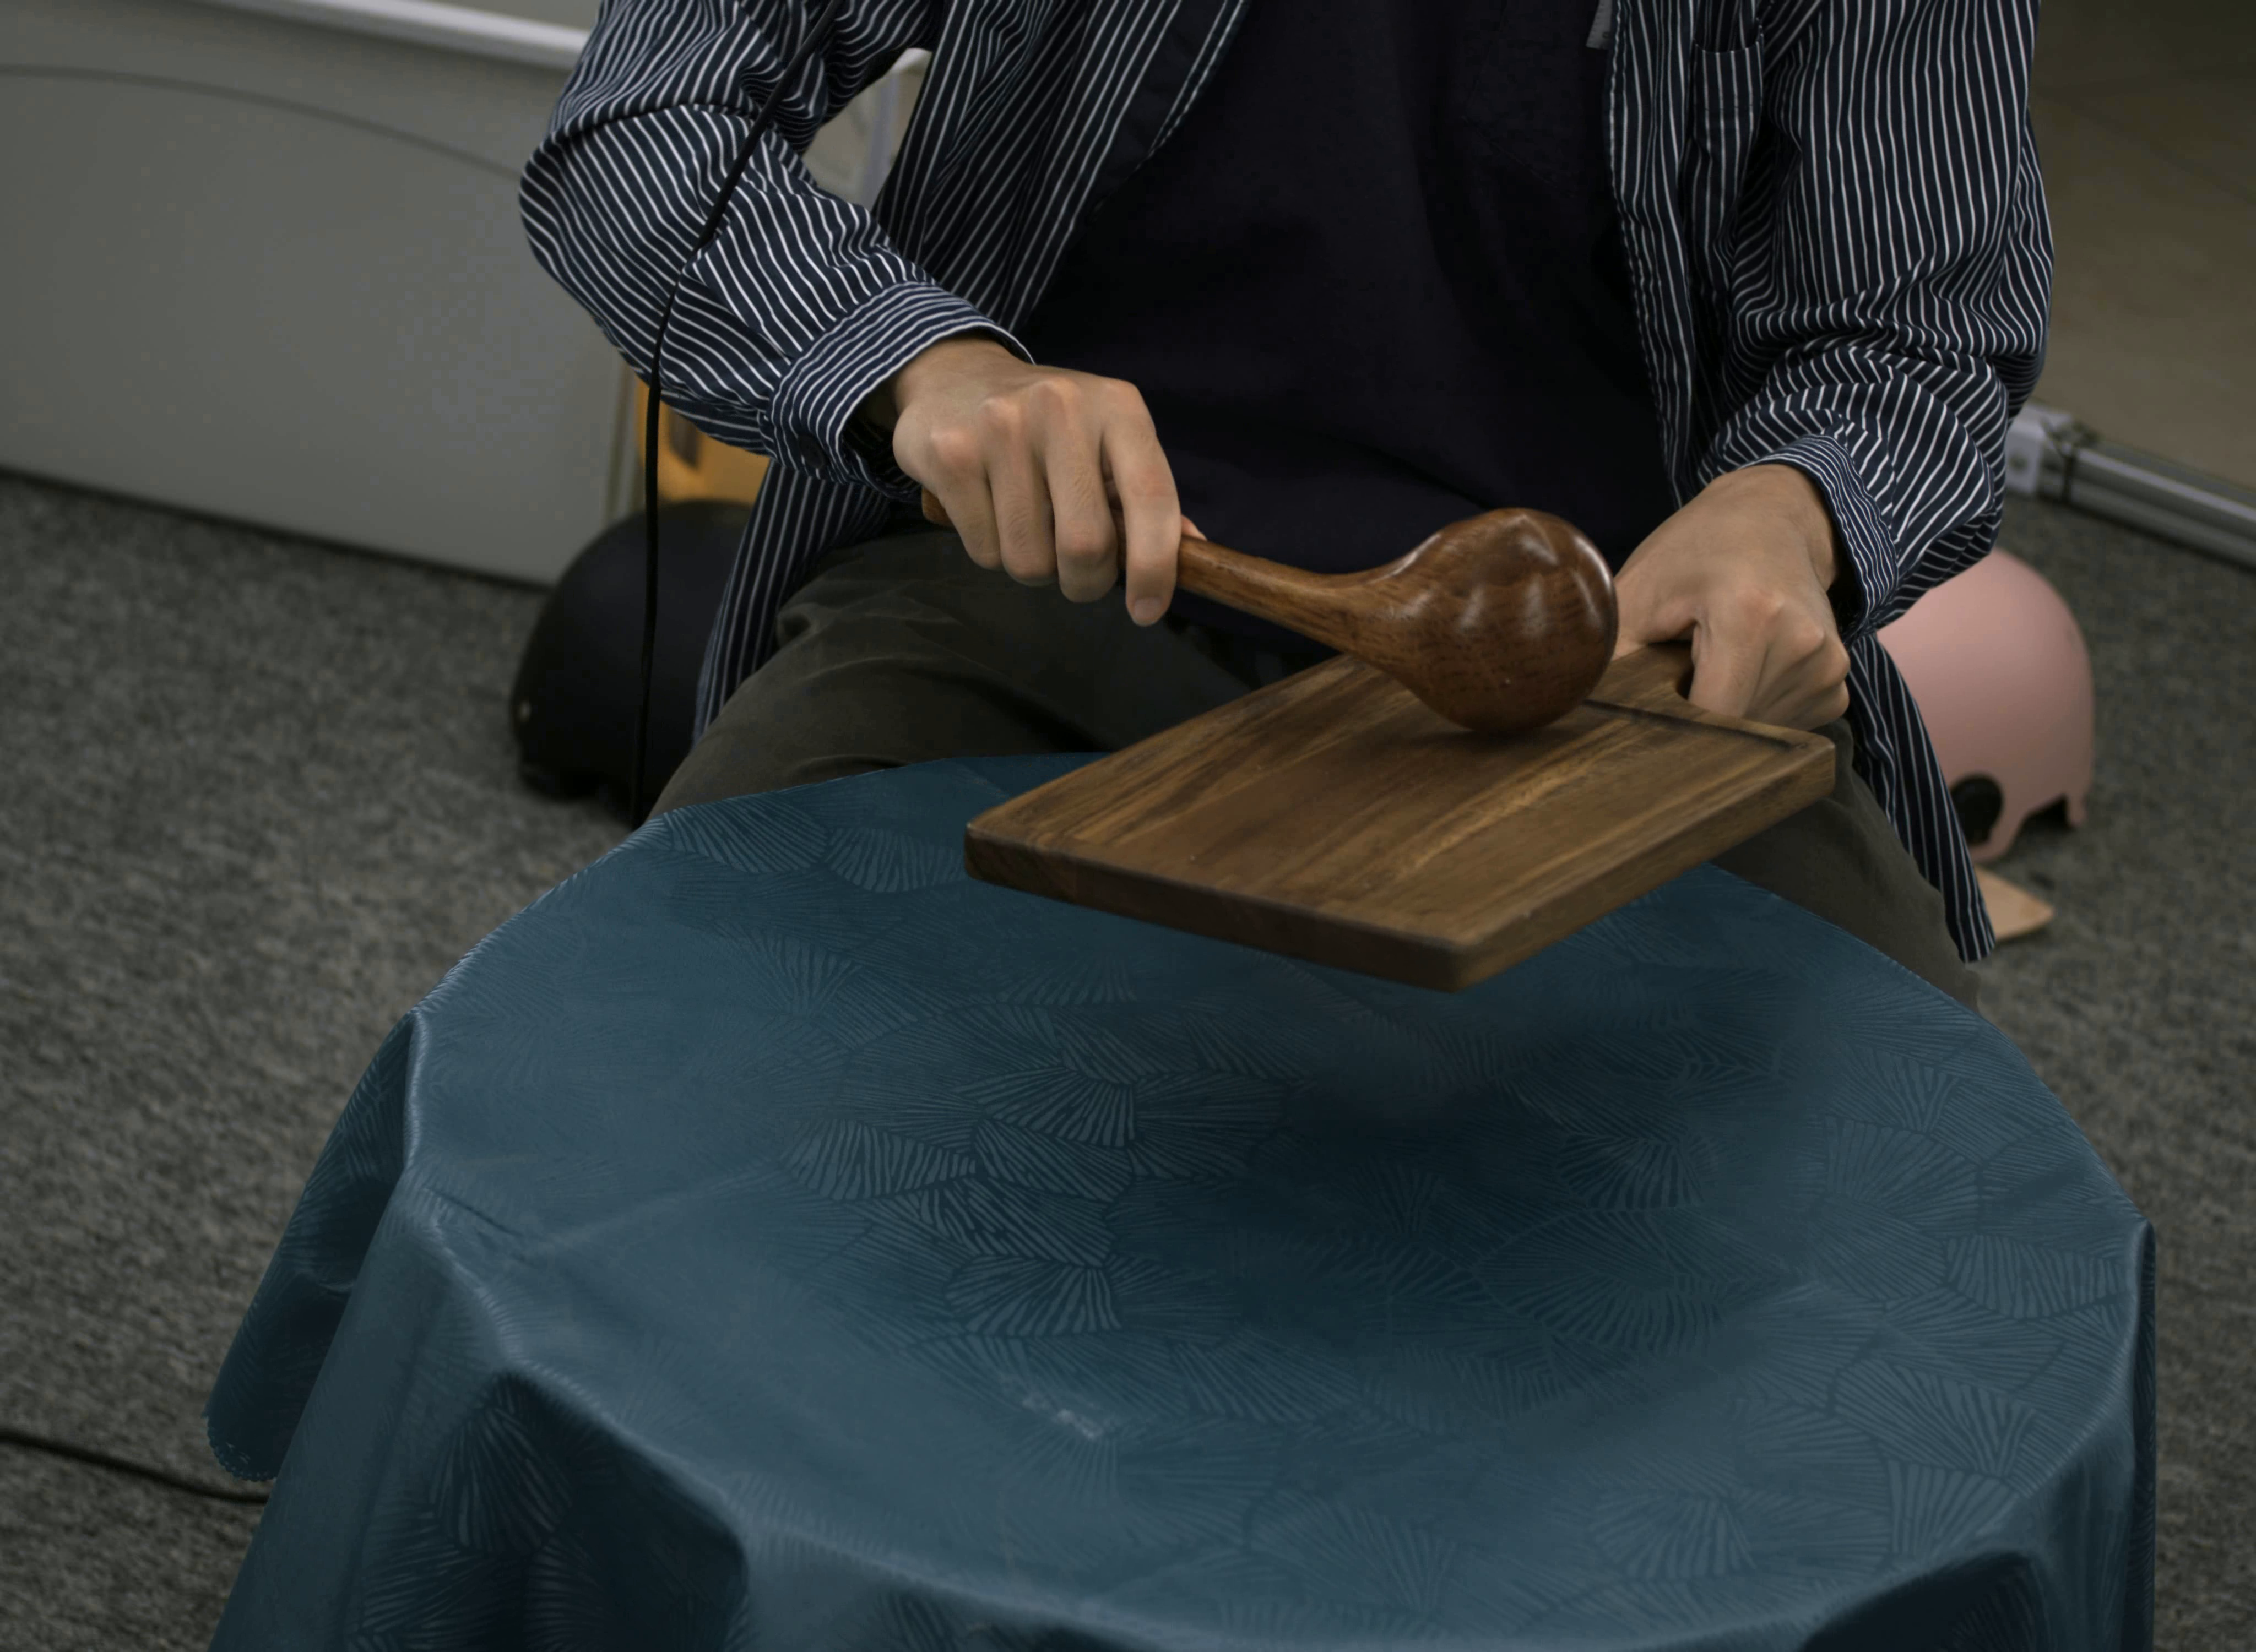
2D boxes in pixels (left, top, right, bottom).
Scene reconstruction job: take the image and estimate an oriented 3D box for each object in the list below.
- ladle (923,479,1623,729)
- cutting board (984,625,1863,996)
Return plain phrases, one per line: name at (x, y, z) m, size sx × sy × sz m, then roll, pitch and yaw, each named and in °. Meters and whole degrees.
ladle at (0.051, -0.096, 1.890) m, size 0.276 × 0.082 × 0.076 m, roll 17°, pitch 21°, yaw 39°
cutting board at (0.131, -0.018, 1.813) m, size 0.202 × 0.023 × 0.351 m, roll 13°, pitch 23°, yaw 34°
